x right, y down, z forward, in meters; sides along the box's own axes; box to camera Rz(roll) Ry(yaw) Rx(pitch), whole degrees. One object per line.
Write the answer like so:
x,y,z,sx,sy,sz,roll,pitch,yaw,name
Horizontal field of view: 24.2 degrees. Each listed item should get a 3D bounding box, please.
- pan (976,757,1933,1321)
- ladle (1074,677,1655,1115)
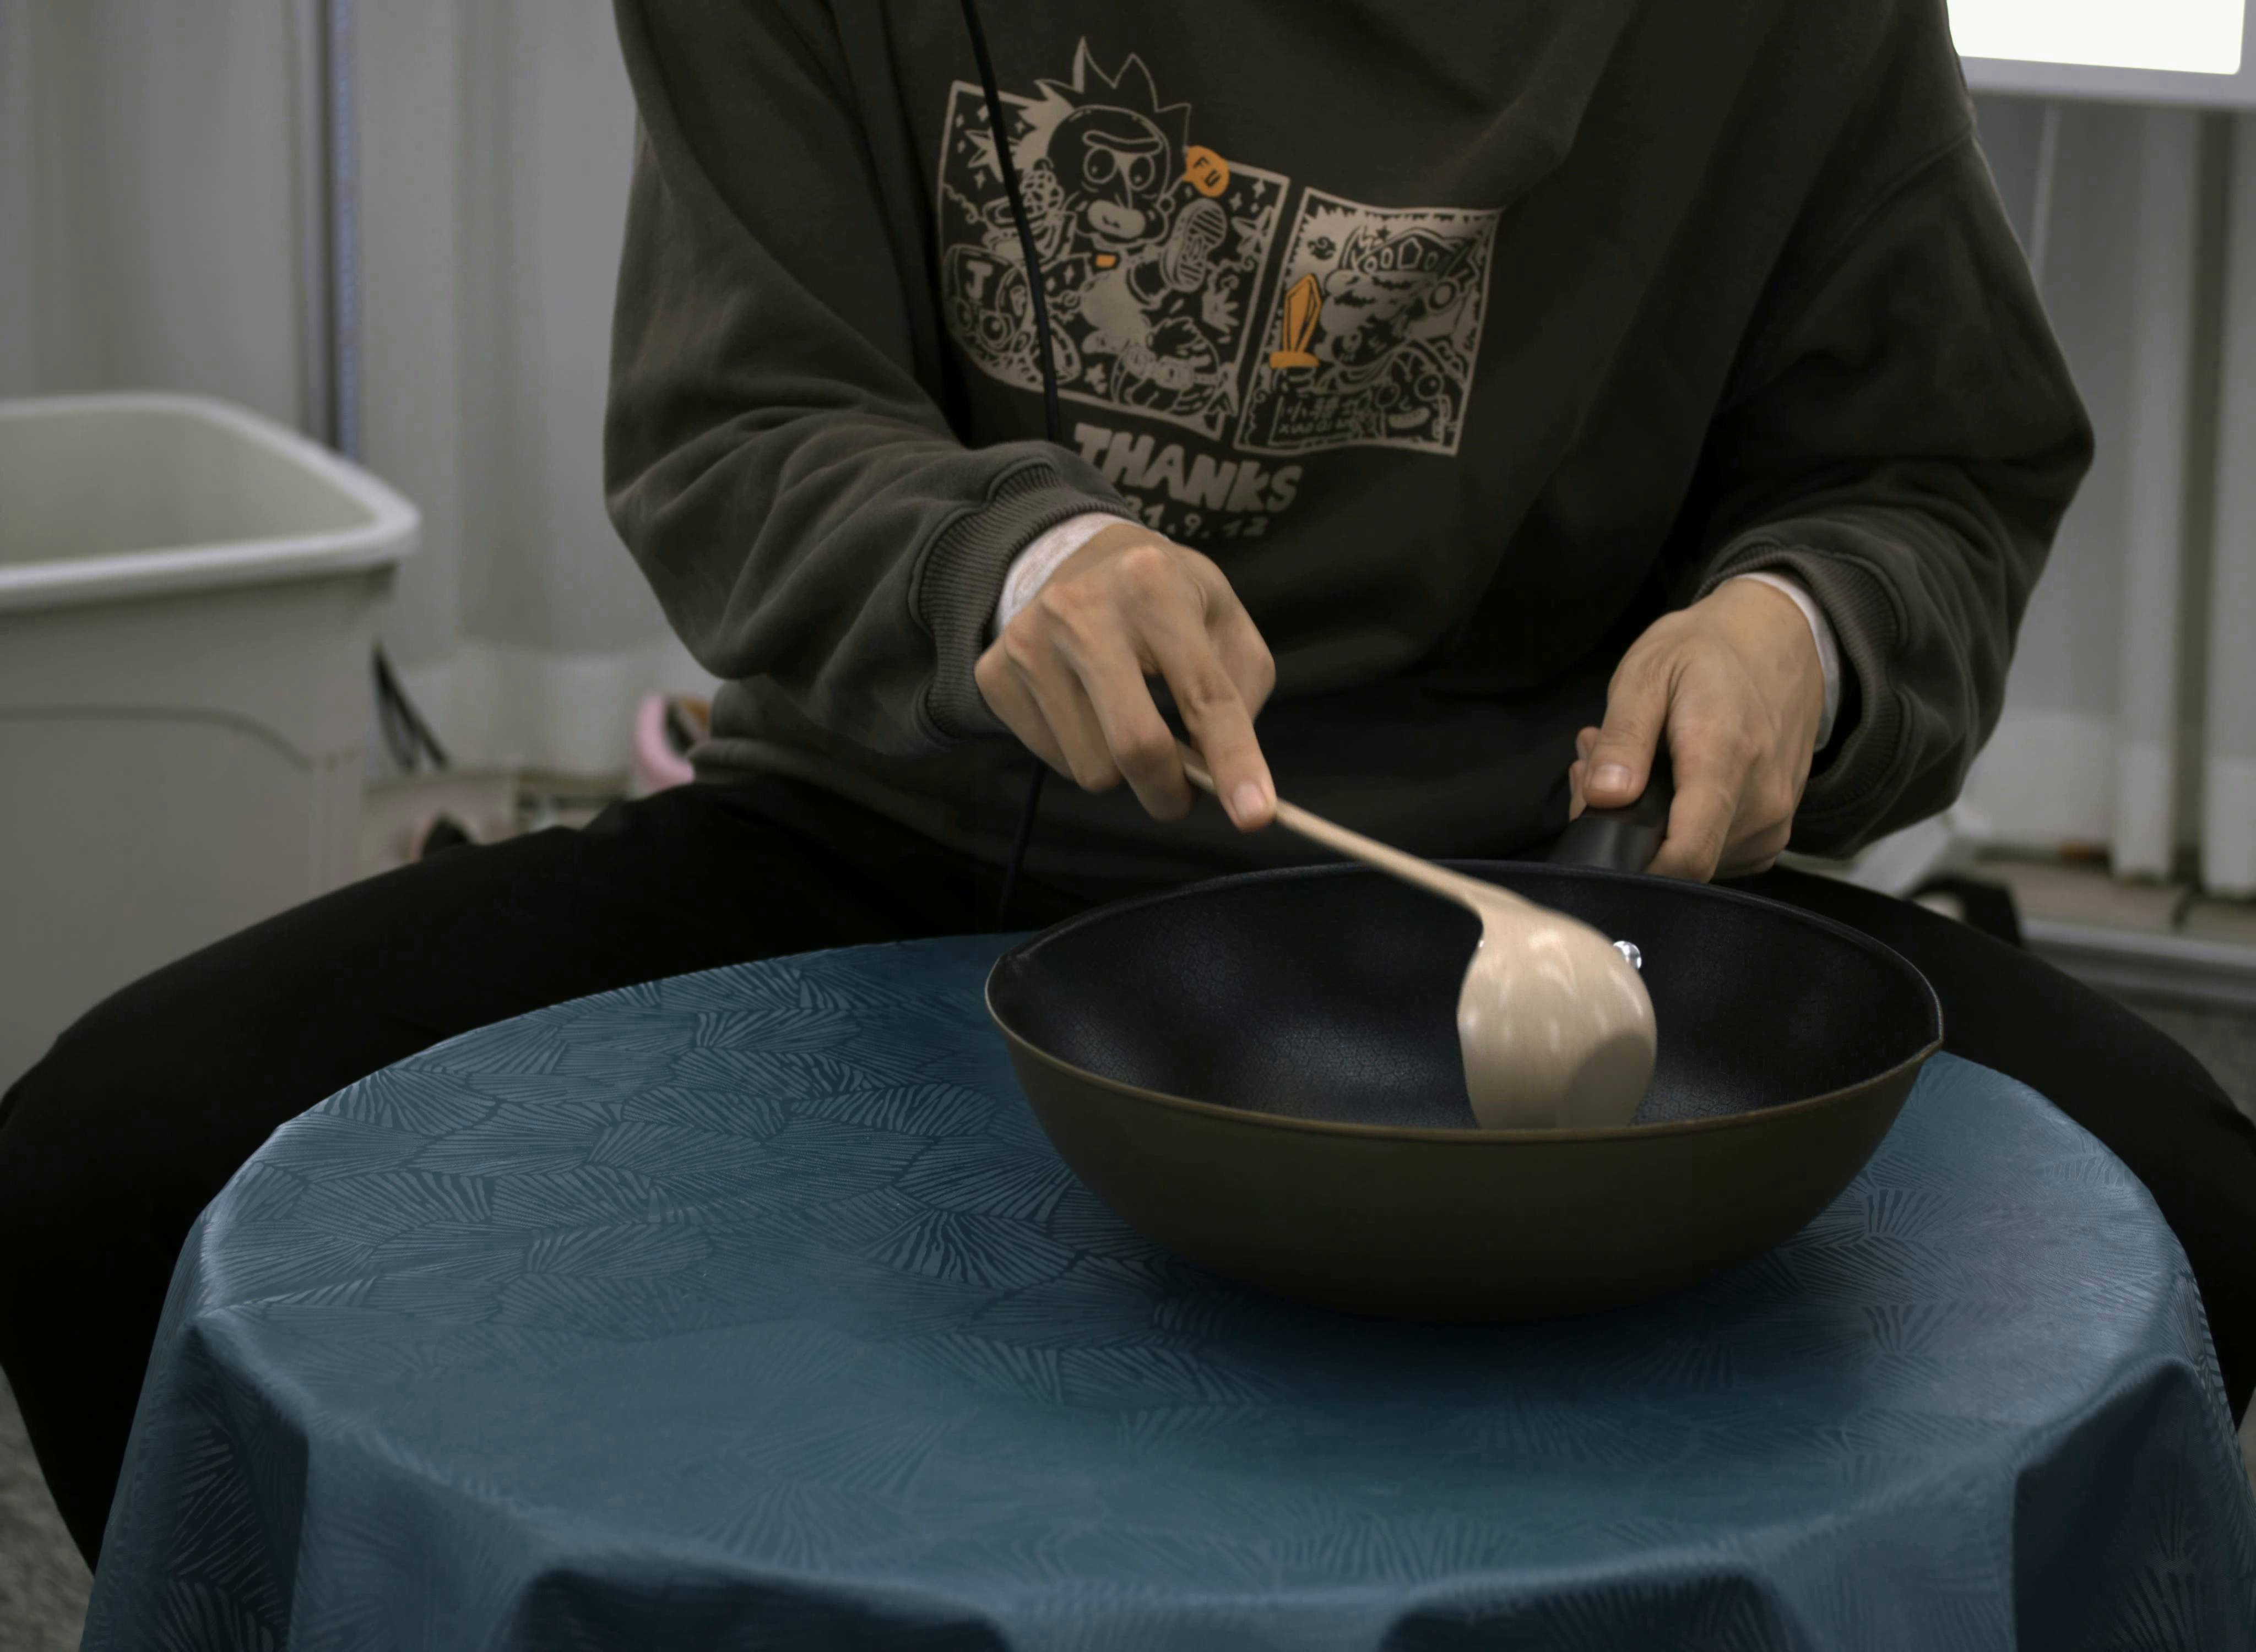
0.124,0.063,1.659,0.285,0.087,0.463,5,15,17,pan
0.059,0.032,1.620,0.072,0.073,0.251,-5,25,-43,ladle
